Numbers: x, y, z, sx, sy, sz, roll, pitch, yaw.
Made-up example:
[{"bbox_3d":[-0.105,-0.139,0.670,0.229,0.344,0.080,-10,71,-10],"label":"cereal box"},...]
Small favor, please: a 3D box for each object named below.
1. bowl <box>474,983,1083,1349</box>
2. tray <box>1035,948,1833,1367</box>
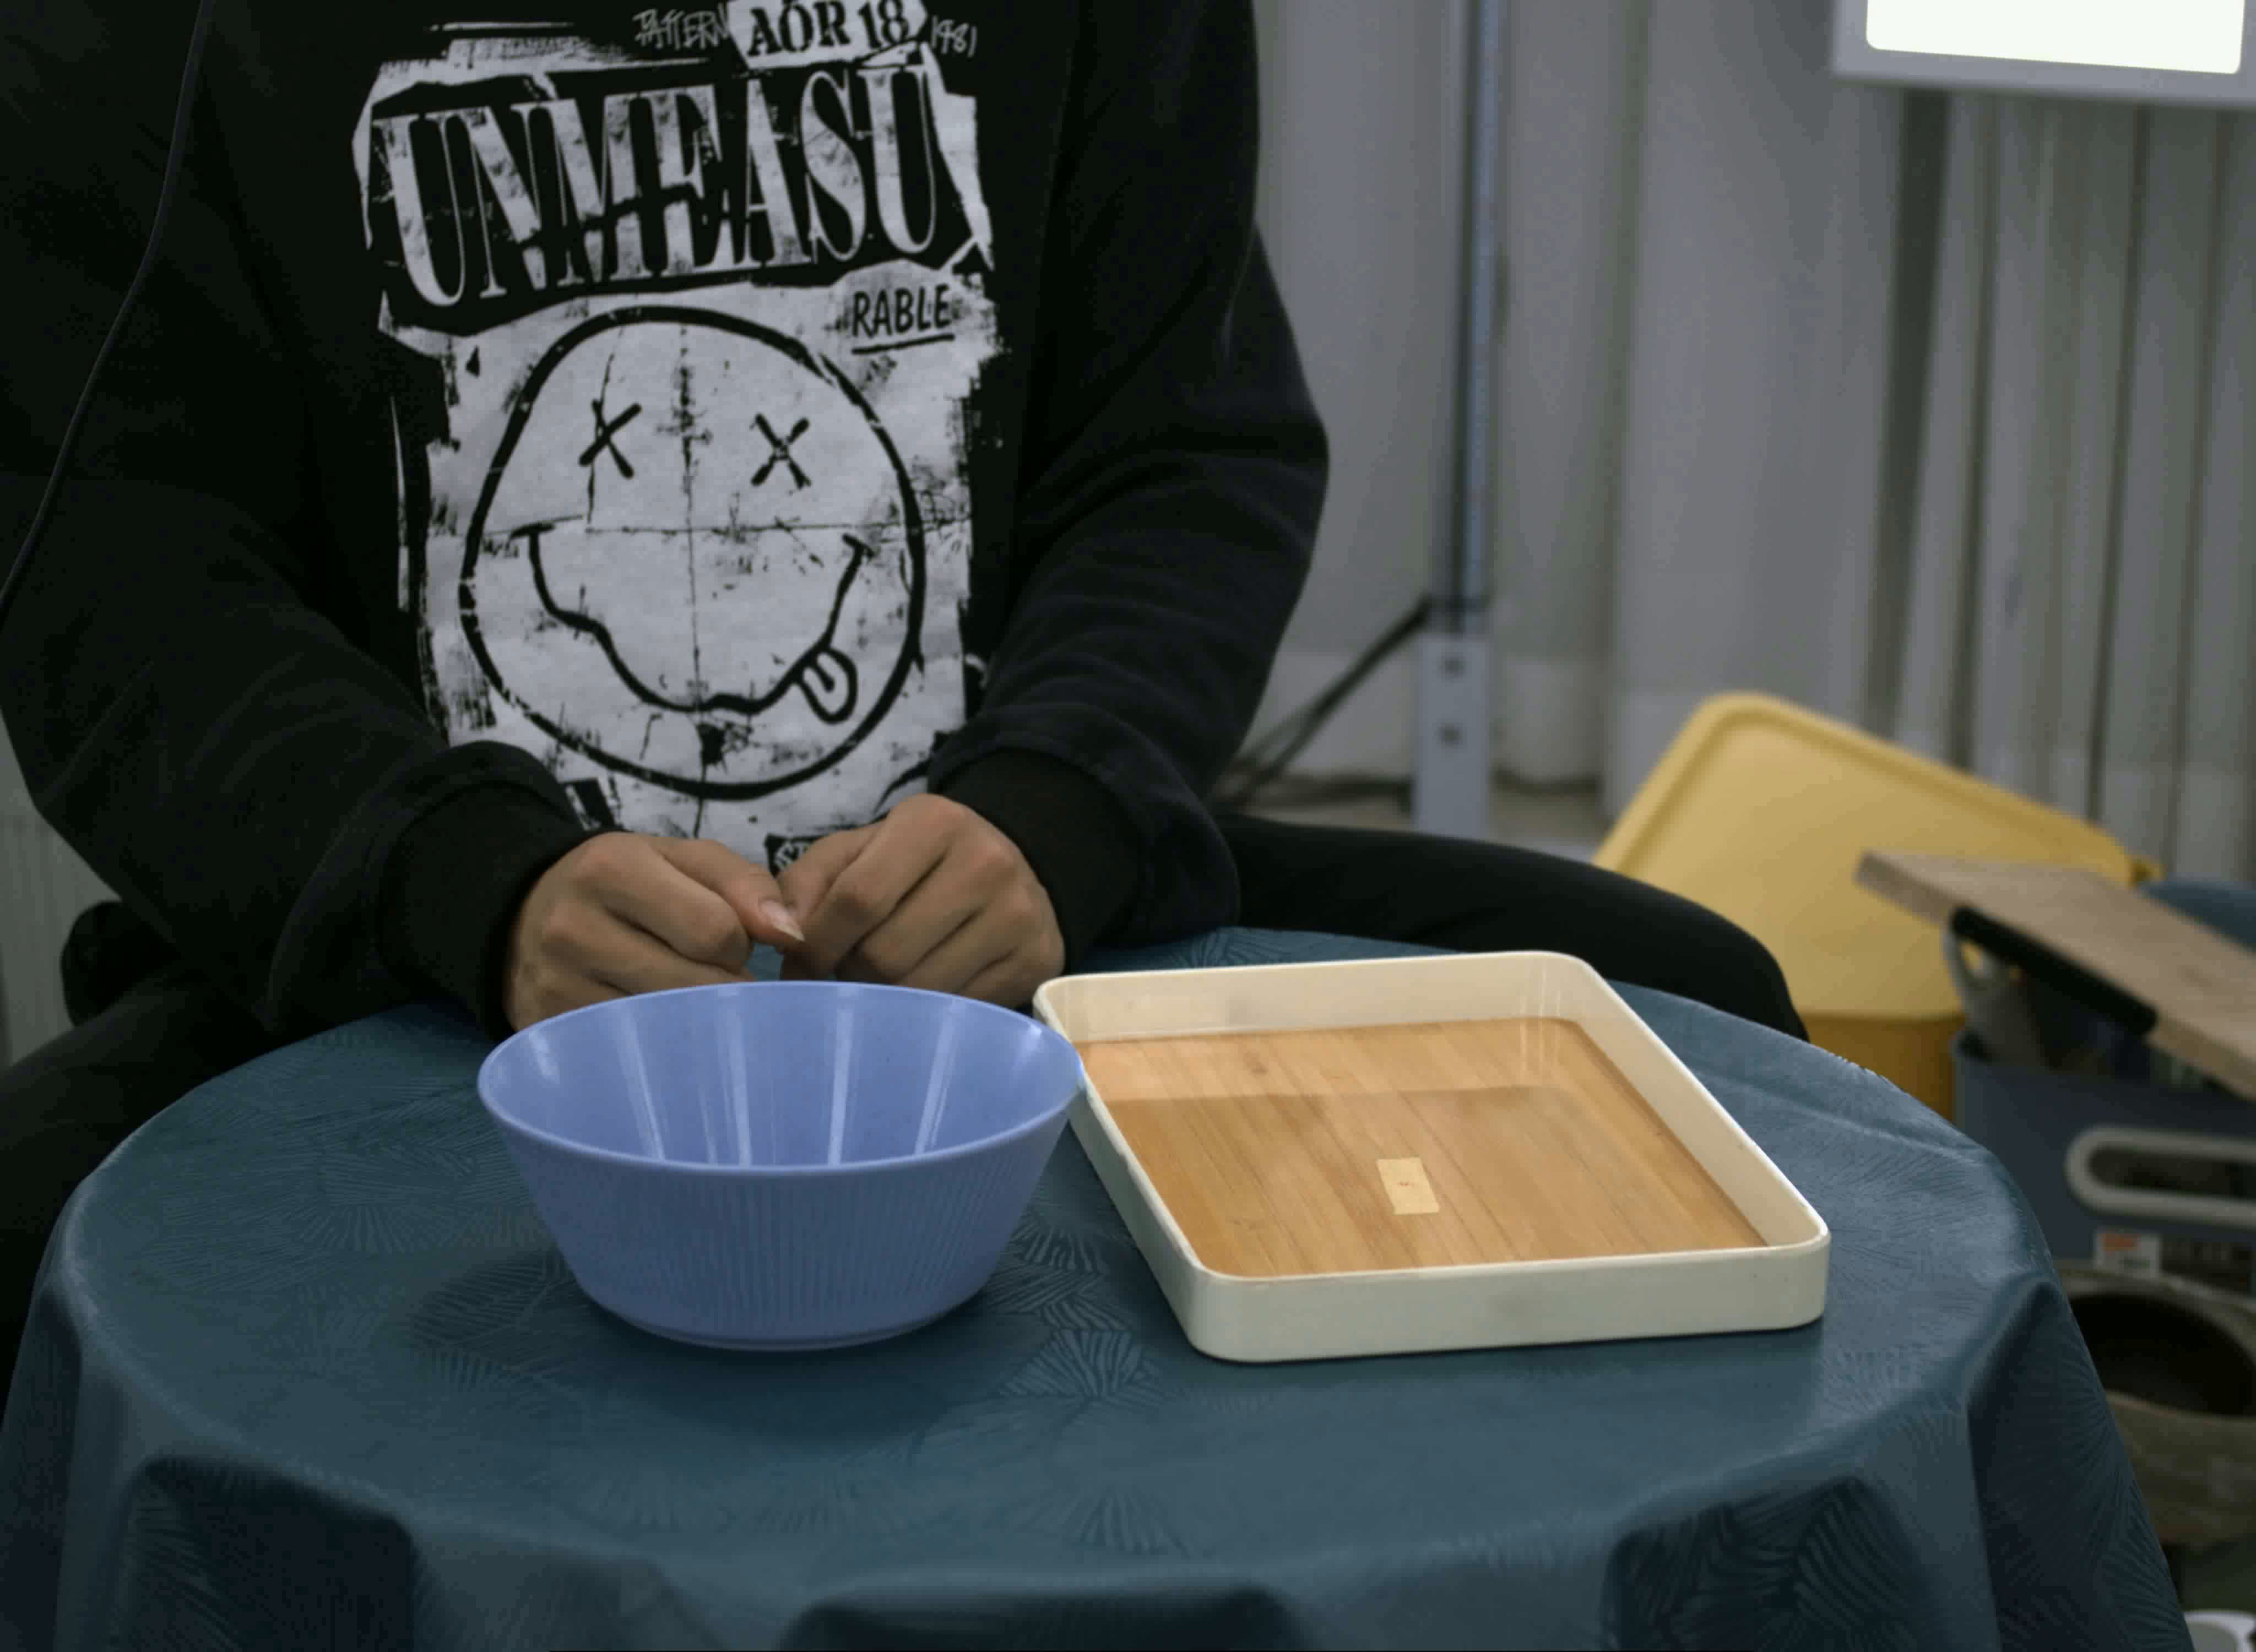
[{"bbox_3d":[-0.102,0.101,1.532,0.175,0.071,0.175,2,16,0],"label":"bowl"},{"bbox_3d":[0.087,0.098,1.634,0.191,0.027,0.297,-3,16,-11],"label":"tray"}]
